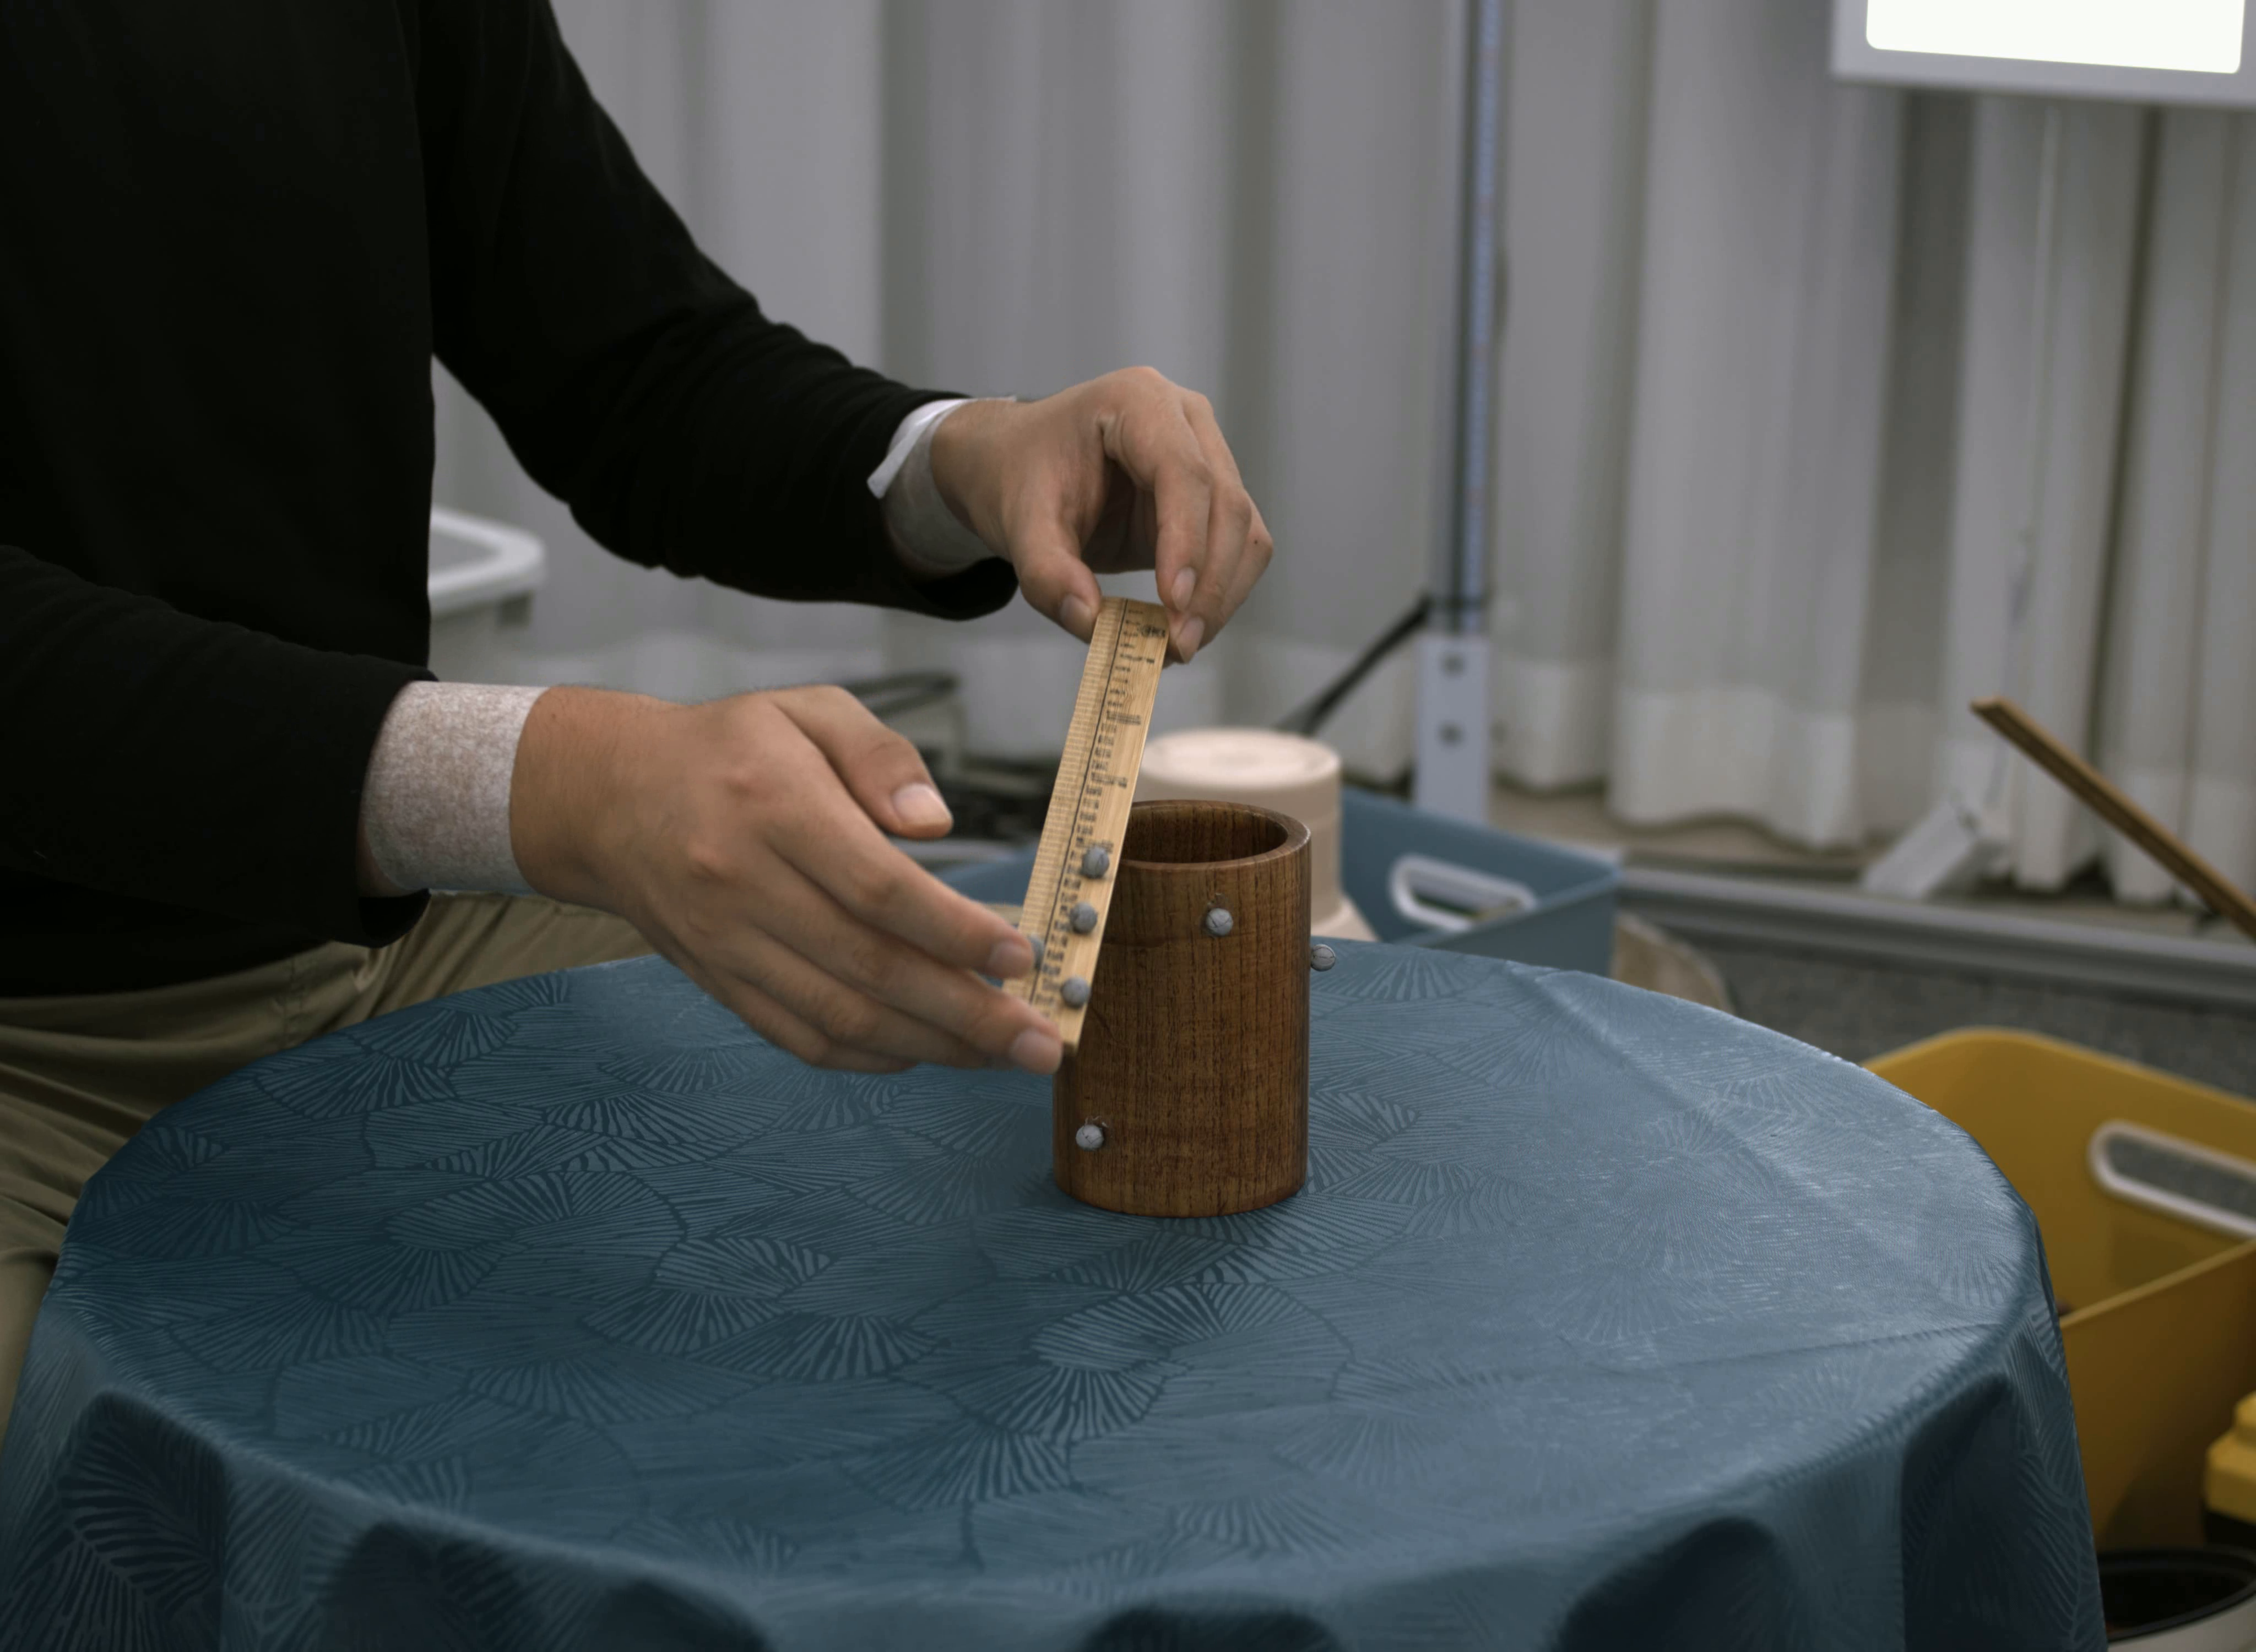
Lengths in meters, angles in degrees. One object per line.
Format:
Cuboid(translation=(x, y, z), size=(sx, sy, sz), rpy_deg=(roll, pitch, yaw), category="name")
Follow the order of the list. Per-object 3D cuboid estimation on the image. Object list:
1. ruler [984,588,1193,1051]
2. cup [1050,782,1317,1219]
Cuboid(translation=(-0.009, -0.011, 1.590), size=(0.027, 0.022, 0.330), rpy_deg=(16, 24, 0), category="ruler")
Cuboid(translation=(0.017, 0.053, 1.617), size=(0.087, 0.119, 0.087), rpy_deg=(1, 15, 0), category="cup")
